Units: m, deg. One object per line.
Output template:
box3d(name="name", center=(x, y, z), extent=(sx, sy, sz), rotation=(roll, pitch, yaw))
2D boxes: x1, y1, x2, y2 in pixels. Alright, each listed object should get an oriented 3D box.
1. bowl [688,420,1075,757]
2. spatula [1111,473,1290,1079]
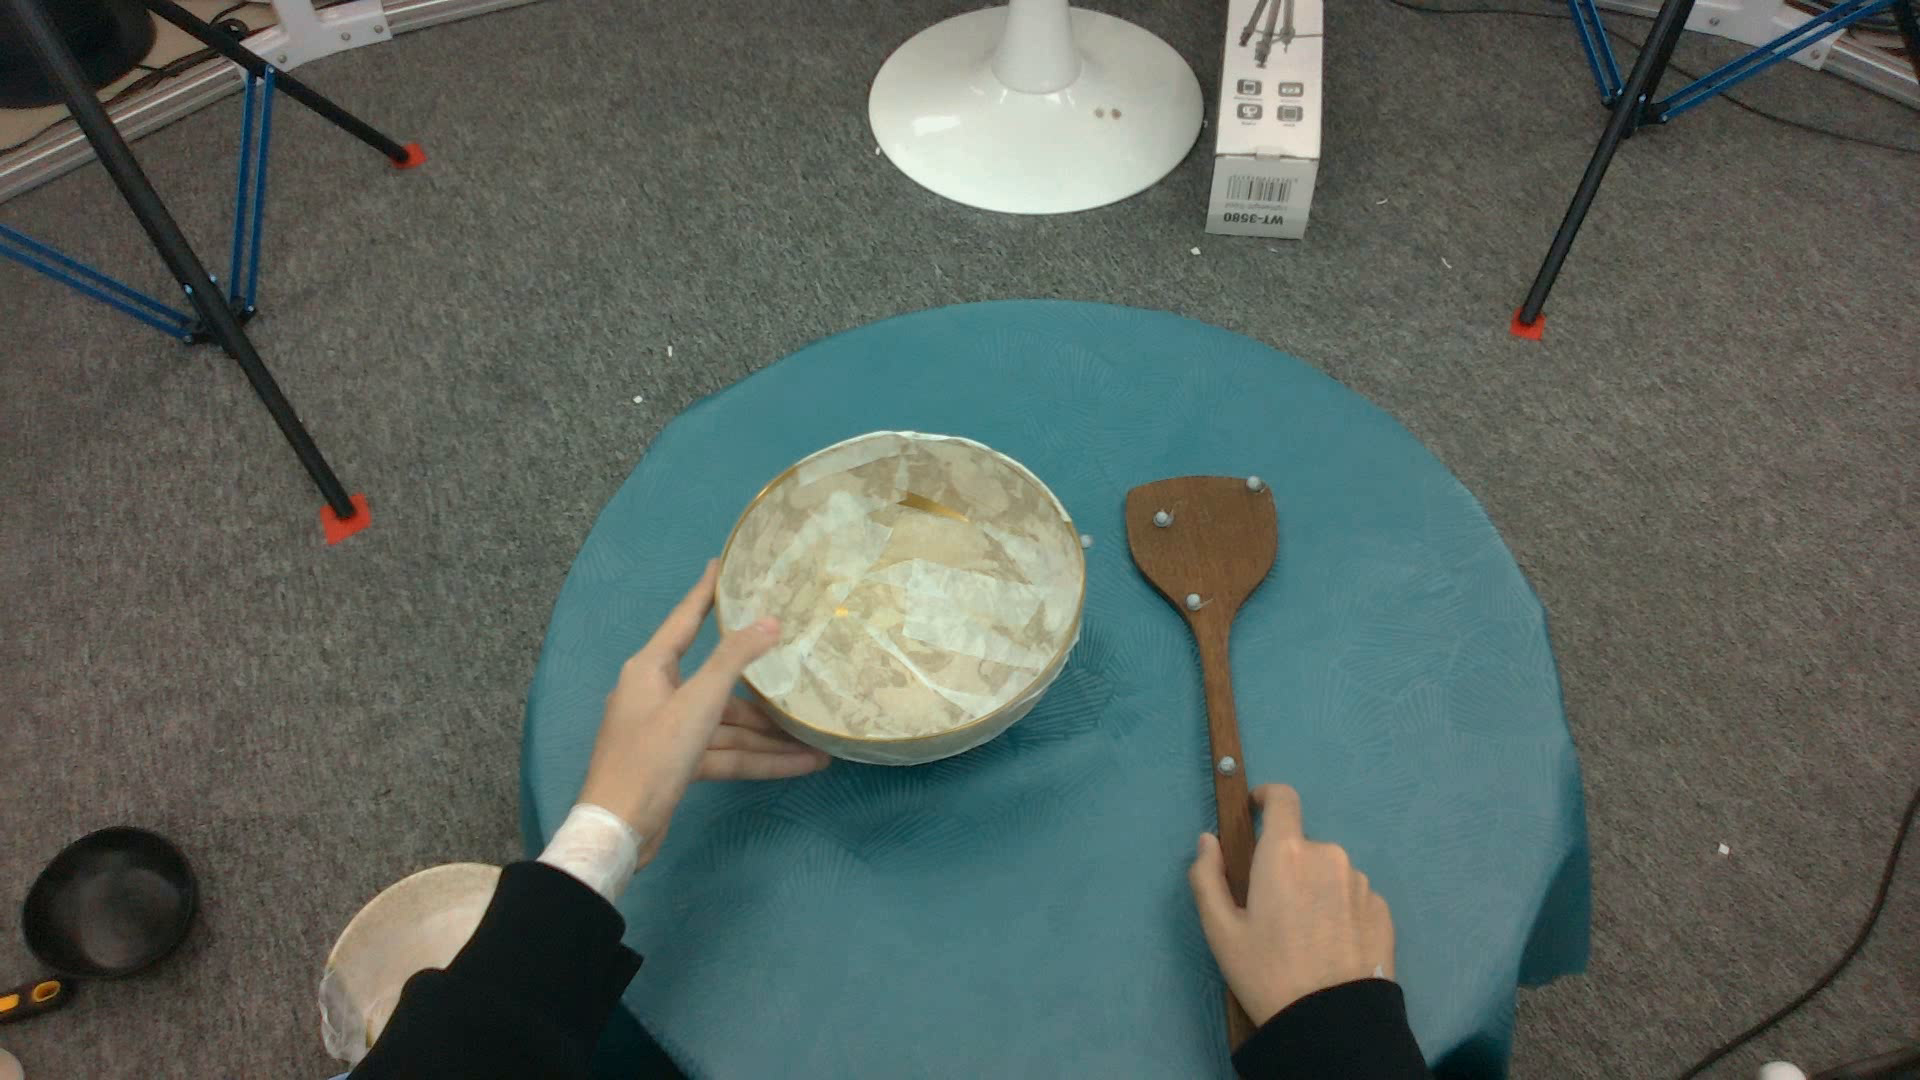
box3d(name="bowl", center=(-0.043, 0.041, 0.770), extent=(0.215, 0.094, 0.215), rotation=(0, 55, 1))
box3d(name="spatula", center=(0.142, 0.108, 0.762), extent=(0.096, 0.016, 0.388), rotation=(-1, 50, 1))
